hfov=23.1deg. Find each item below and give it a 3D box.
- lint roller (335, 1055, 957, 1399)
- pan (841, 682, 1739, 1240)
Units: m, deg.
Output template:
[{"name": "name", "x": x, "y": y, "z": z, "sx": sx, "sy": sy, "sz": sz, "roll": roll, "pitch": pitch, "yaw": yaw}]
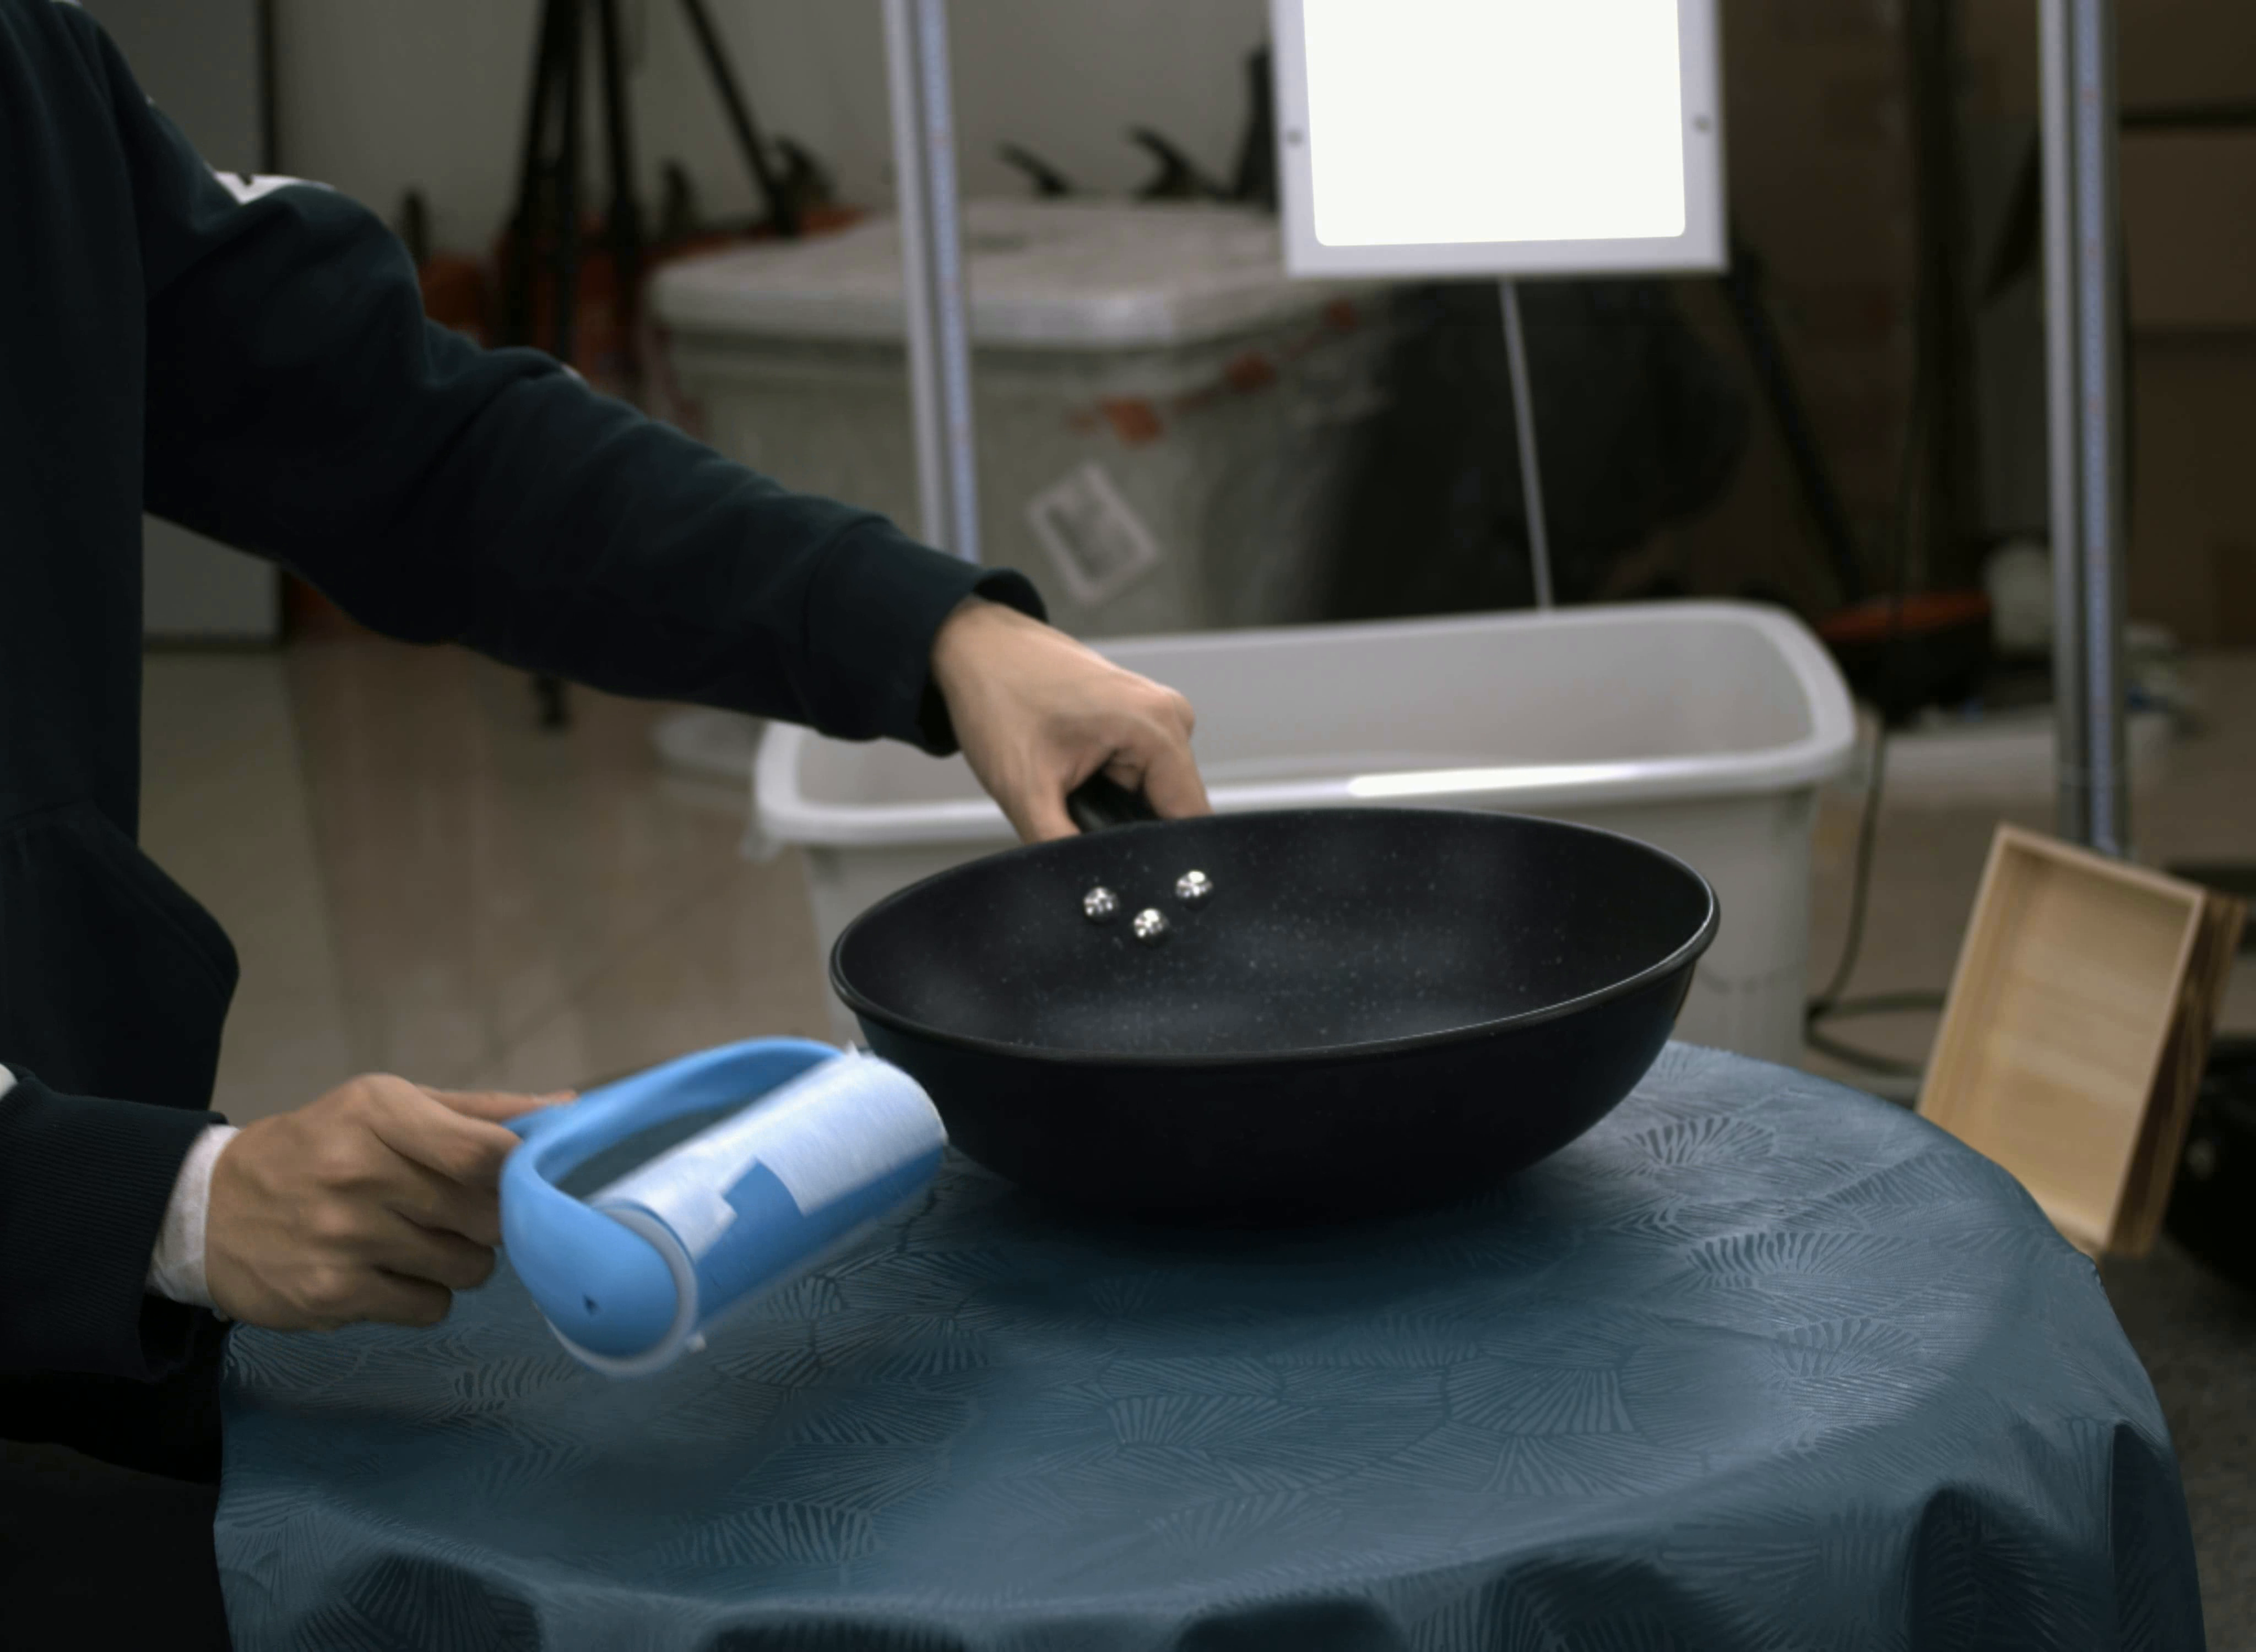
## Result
[{"name": "lint roller", "x": -0.166, "y": 0.123, "z": 1.702, "sx": 0.182, "sy": 0.068, "sz": 0.225, "roll": -3, "pitch": 12, "yaw": 18}, {"name": "pan", "x": 0.030, "y": 0.048, "z": 1.976, "sx": 0.305, "sy": 0.112, "sz": 0.482, "roll": -8, "pitch": 15, "yaw": -16}]
